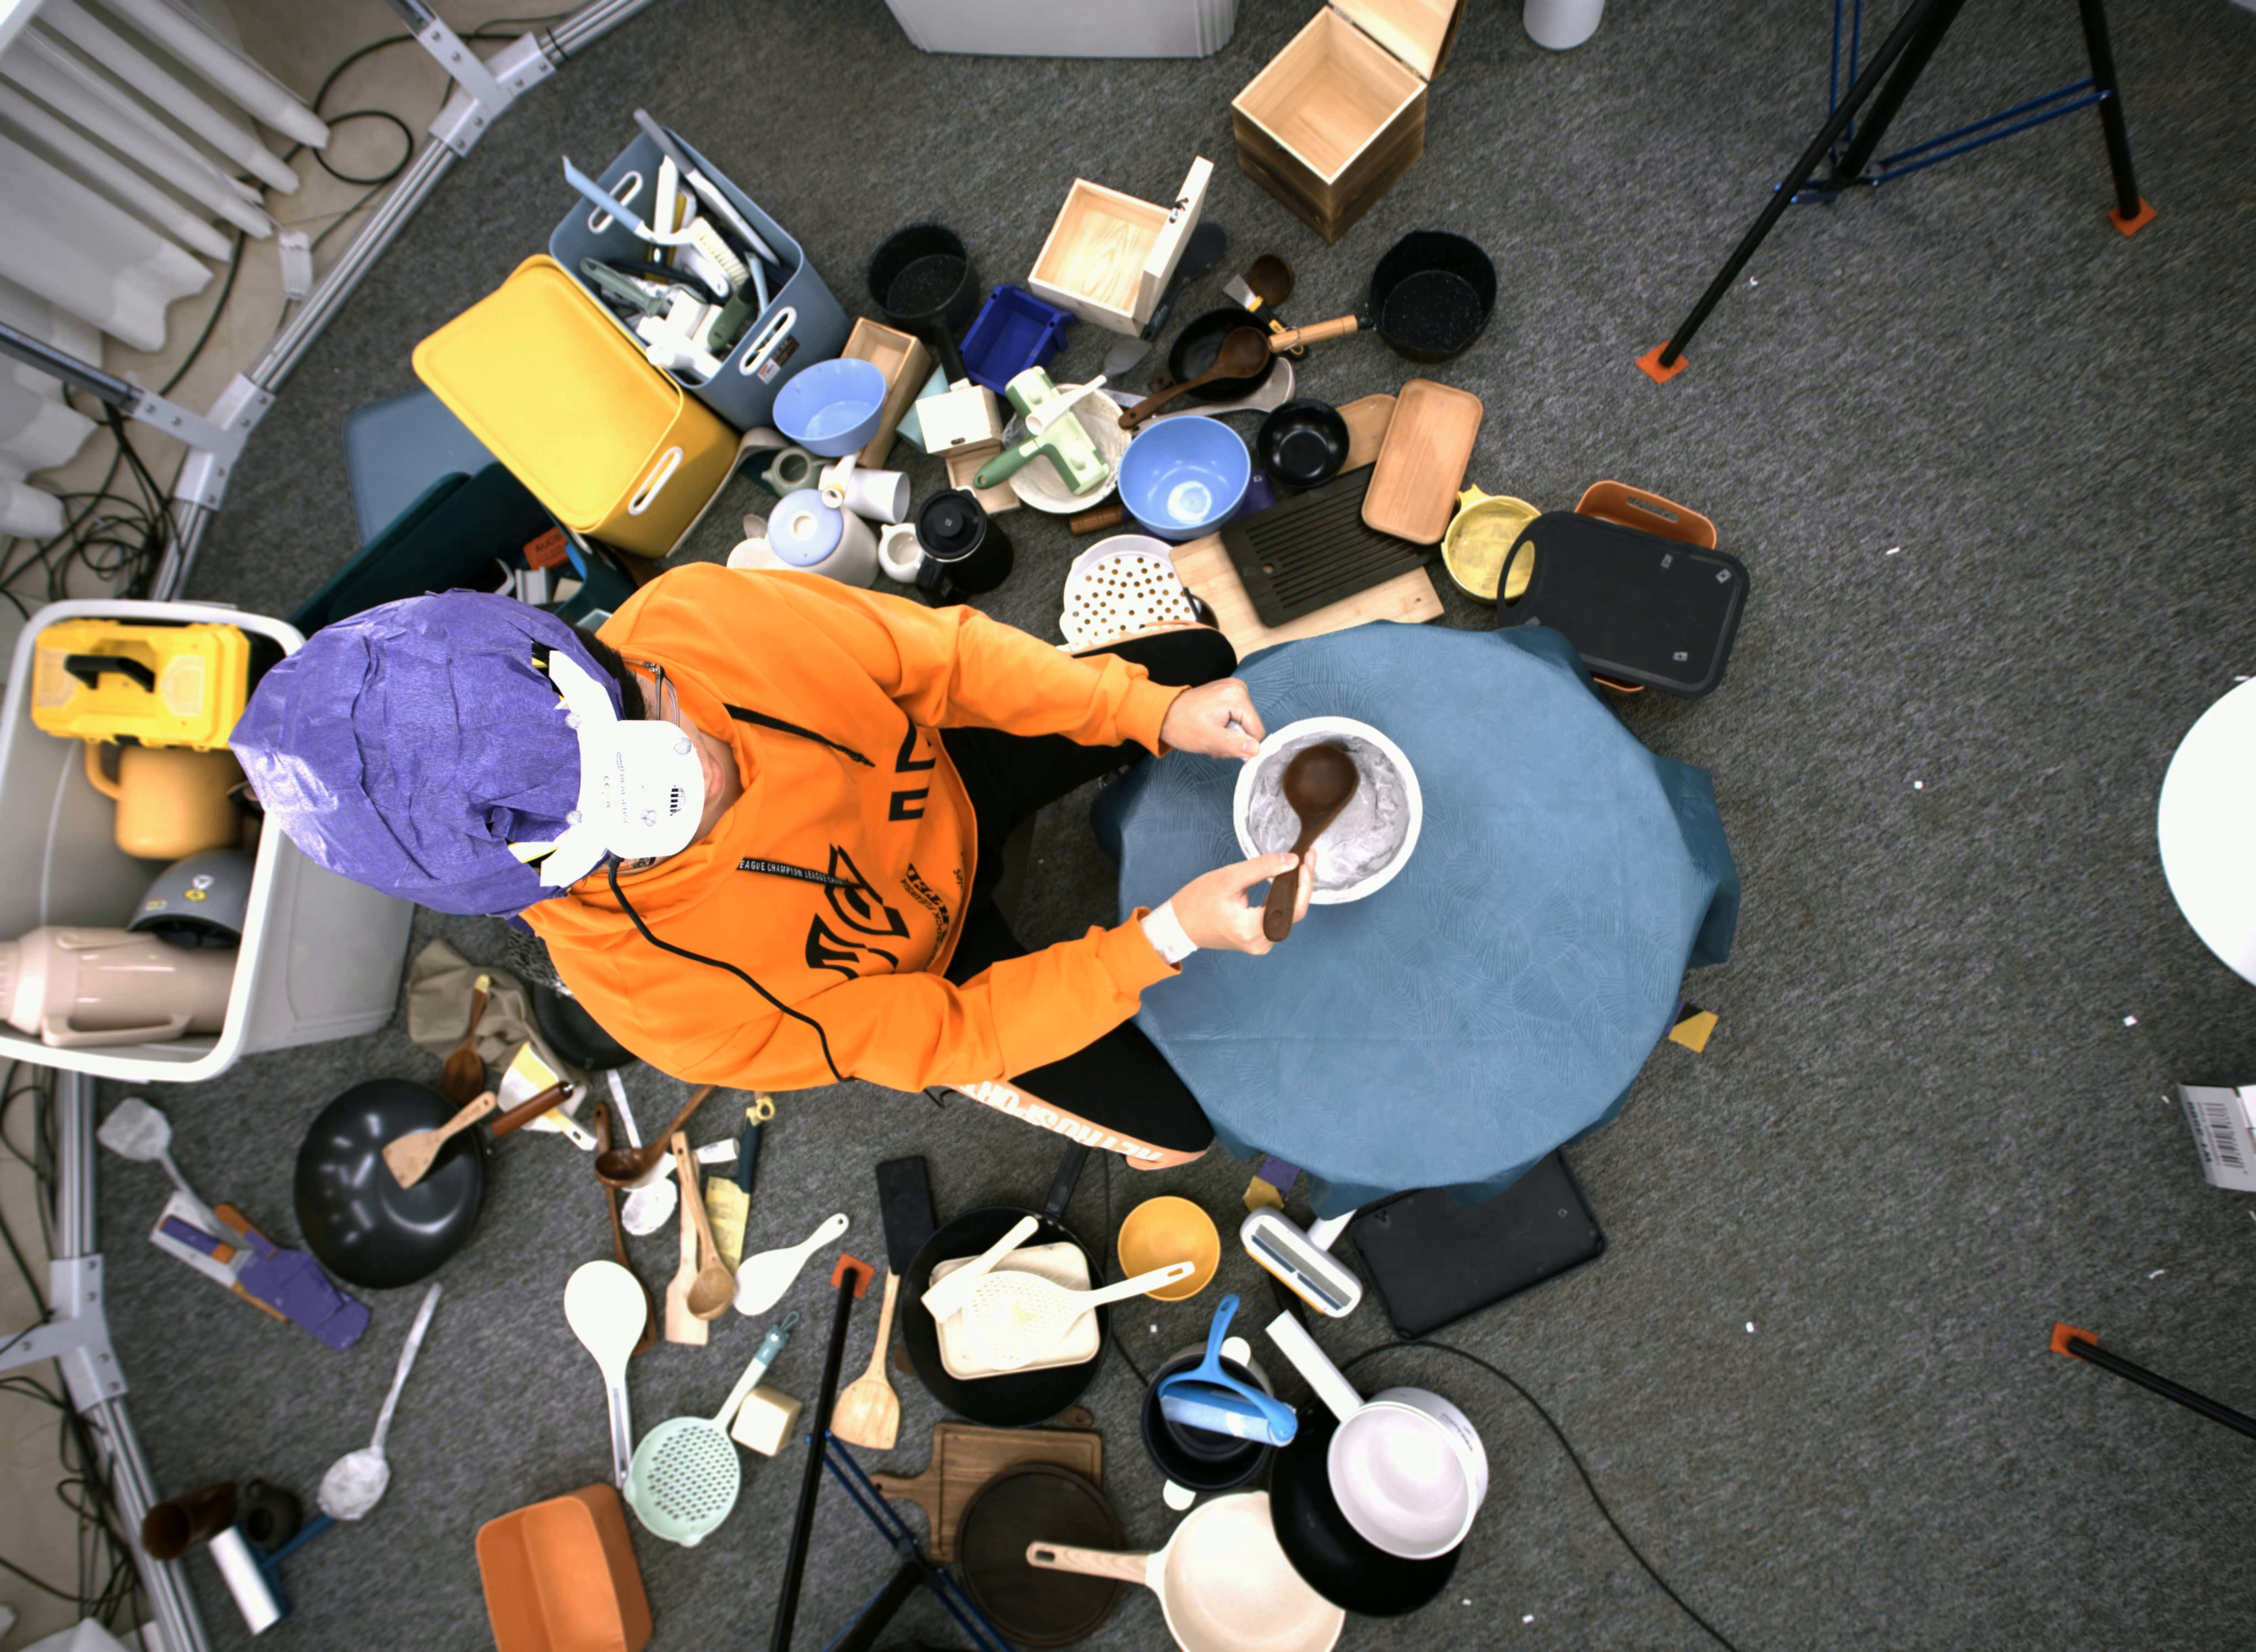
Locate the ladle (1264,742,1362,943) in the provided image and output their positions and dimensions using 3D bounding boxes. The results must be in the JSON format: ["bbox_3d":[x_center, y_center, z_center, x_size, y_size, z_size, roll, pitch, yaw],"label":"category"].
[{"bbox_3d":[0.160,0.007,1.275,0.077,0.253,0.066,-7,120,27],"label":"ladle"}]

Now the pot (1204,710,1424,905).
[{"bbox_3d":[0.172,-0.034,1.359,0.233,0.136,0.180,36,98,3],"label":"pot"}]
